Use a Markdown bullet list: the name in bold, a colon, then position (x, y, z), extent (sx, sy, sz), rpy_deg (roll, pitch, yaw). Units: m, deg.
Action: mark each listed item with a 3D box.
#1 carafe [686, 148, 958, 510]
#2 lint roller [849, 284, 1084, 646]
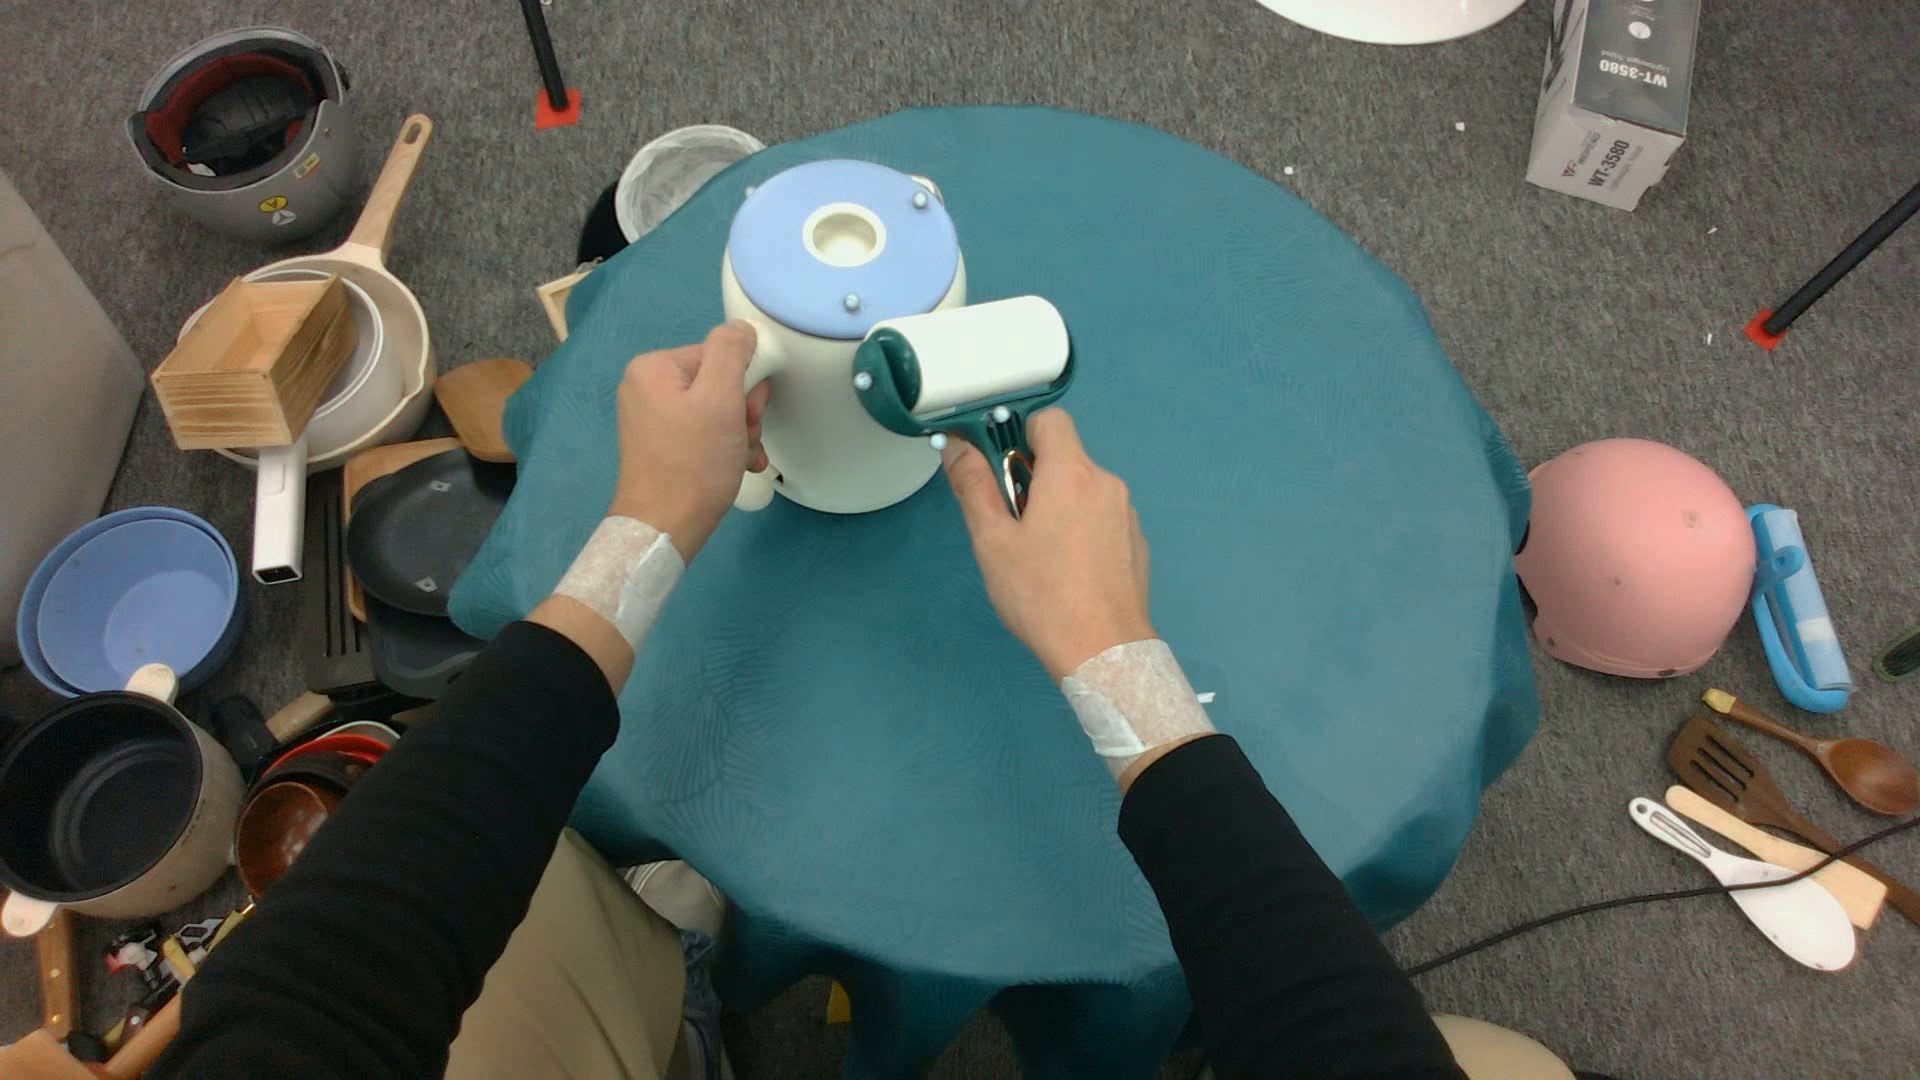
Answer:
- **carafe**: position (-0.085, -0.100, 0.768), extent (0.132, 0.182, 0.192), rpy_deg (35, 65, 15)
- **lint roller**: position (0.029, -0.036, 0.675), extent (0.135, 0.048, 0.180), rpy_deg (-19, 82, -40)
